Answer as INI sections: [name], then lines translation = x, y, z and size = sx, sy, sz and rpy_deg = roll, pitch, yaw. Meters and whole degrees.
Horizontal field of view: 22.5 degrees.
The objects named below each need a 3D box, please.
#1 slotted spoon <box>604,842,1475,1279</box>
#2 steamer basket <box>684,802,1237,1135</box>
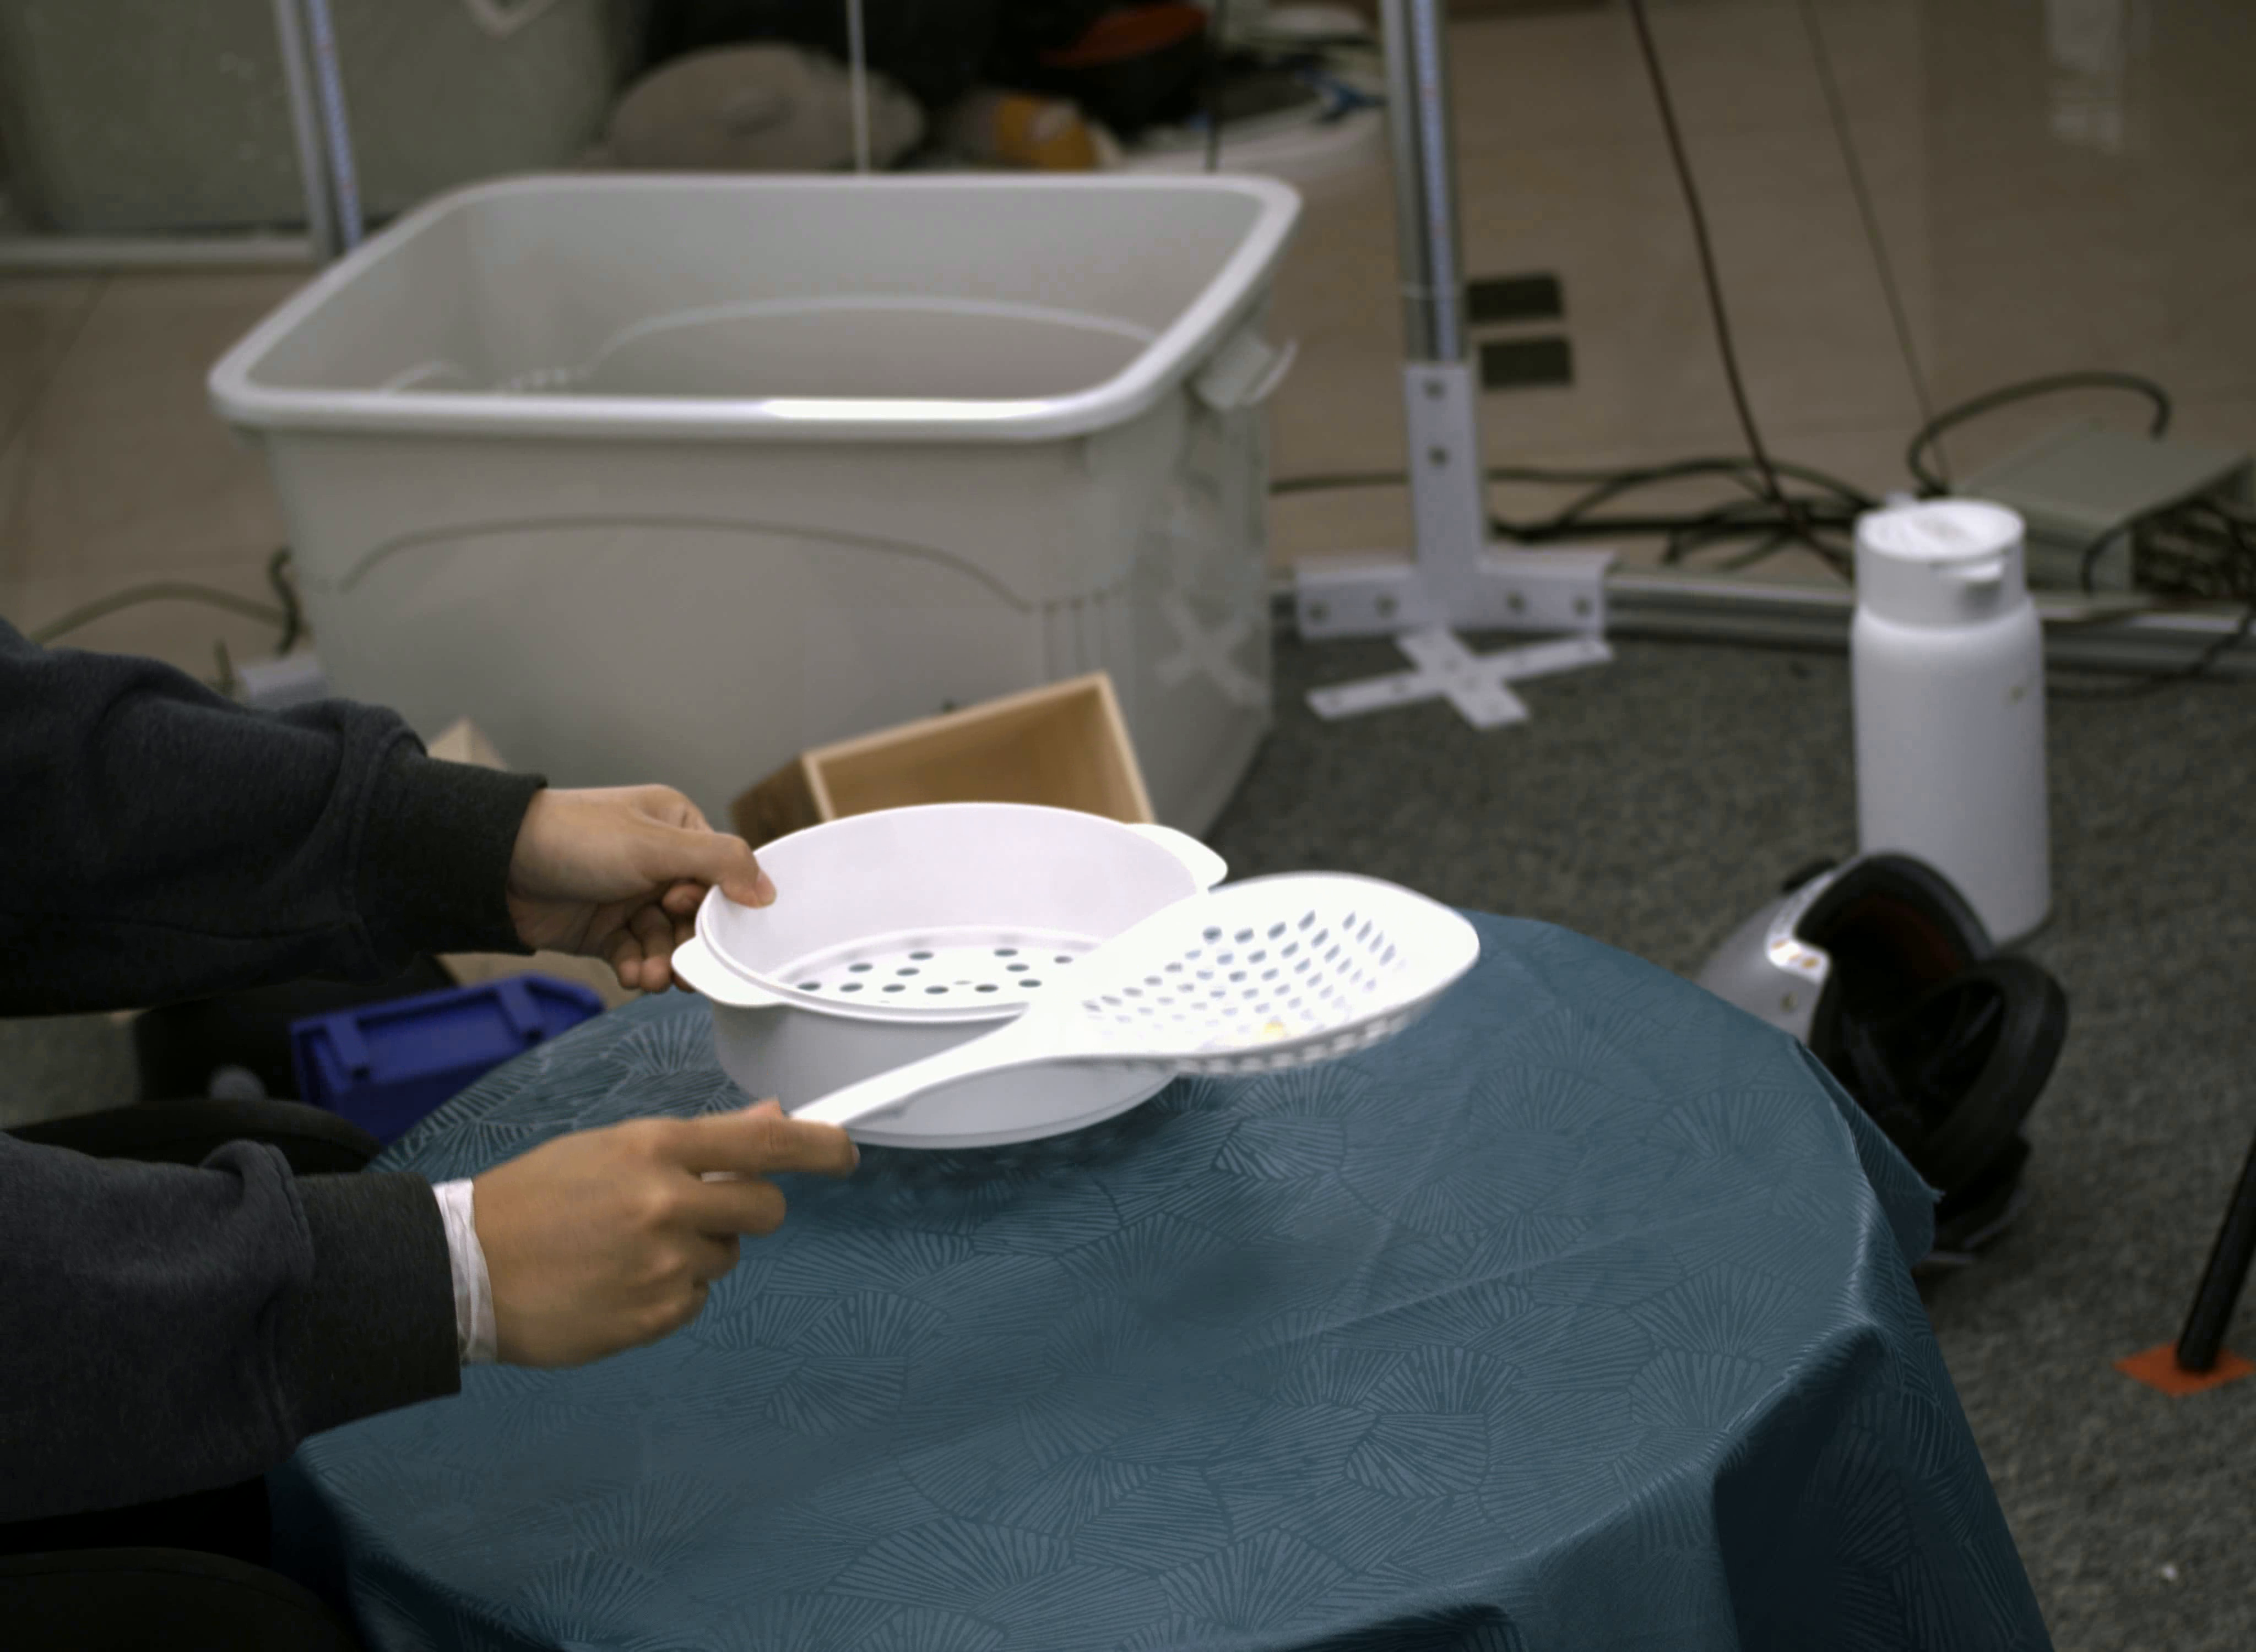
[slotted spoon]
translation = -0.035, 0.084, 2.000
size = 0.346, 0.051, 0.135
rpy_deg = -17, 27, -27
[steamer basket]
translation = -0.063, 0.056, 2.221
size = 0.229, 0.070, 0.199
rpy_deg = -13, 25, -29
